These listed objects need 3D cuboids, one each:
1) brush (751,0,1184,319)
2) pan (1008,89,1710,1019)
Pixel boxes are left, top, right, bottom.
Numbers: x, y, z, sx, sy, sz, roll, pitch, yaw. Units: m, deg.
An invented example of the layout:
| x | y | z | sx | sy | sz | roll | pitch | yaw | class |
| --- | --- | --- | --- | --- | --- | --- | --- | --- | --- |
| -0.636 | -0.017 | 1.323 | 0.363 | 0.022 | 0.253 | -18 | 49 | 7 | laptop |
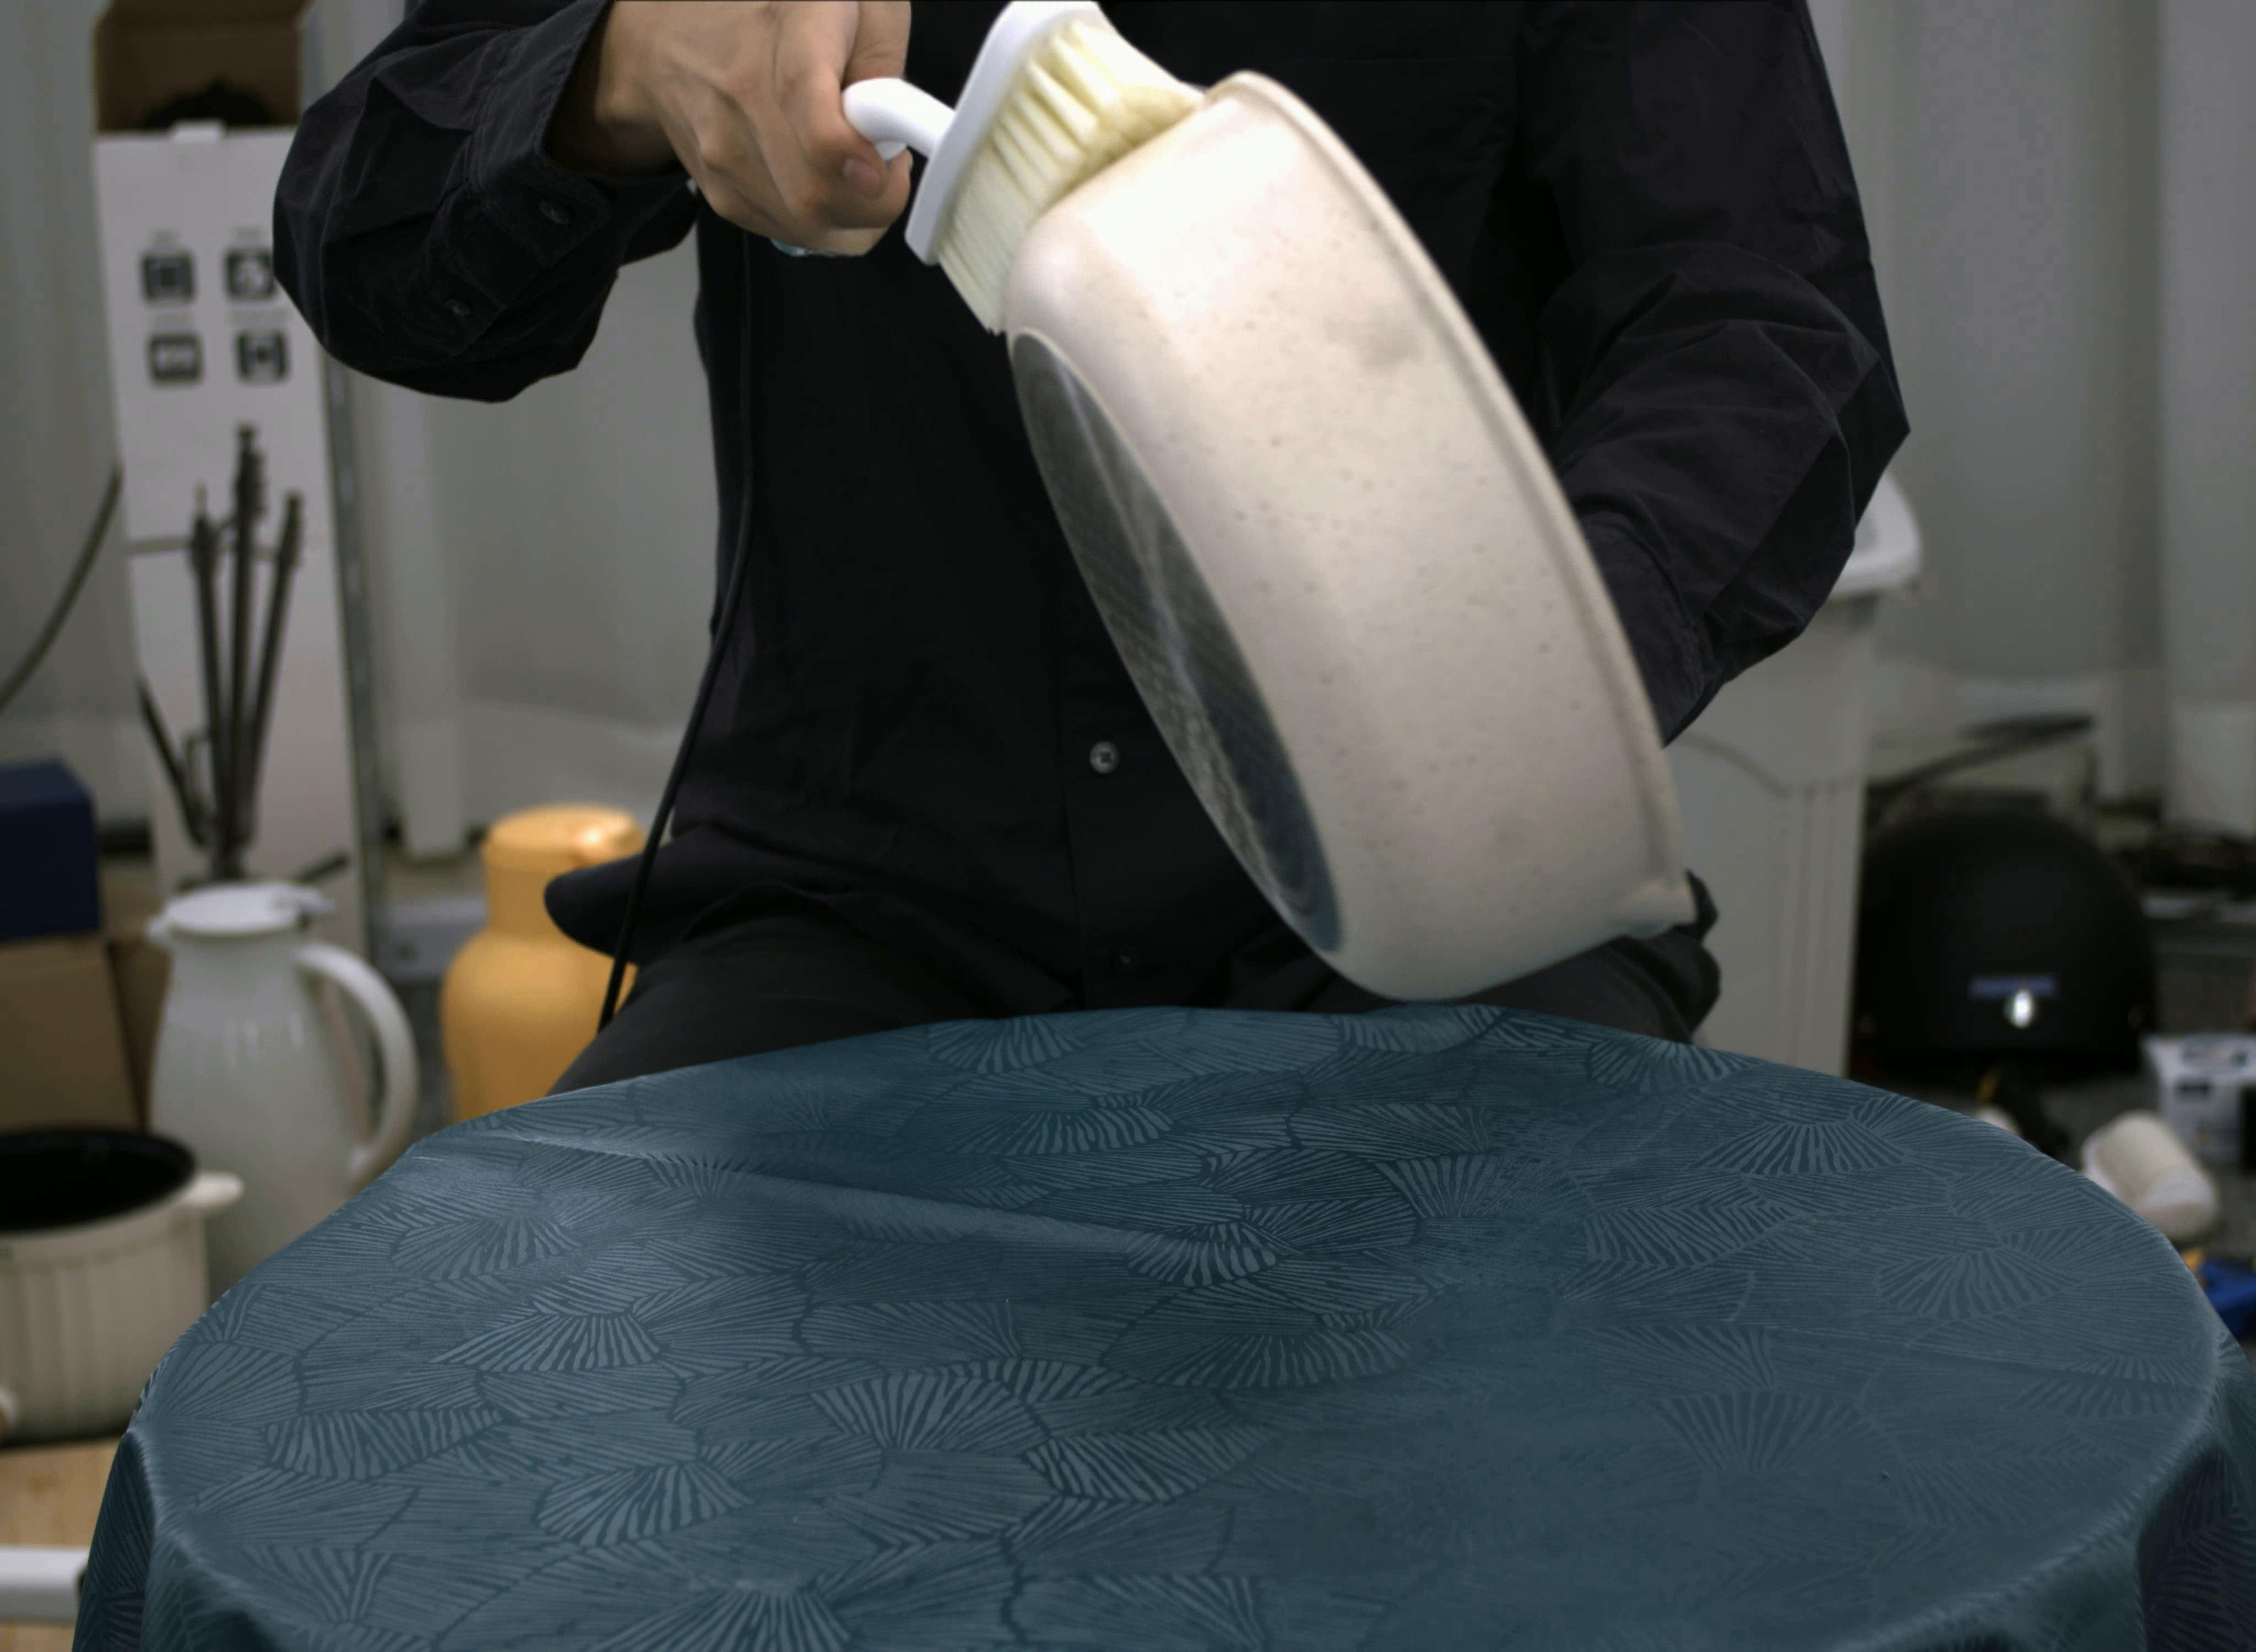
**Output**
| x | y | z | sx | sy | sz | roll | pitch | yaw | class |
| --- | --- | --- | --- | --- | --- | --- | --- | --- | --- |
| -0.044 | -0.179 | 1.582 | 0.082 | 0.085 | 0.325 | 3 | -4 | -15 | brush |
| 0.059 | -0.035 | 1.518 | 0.102 | 0.266 | 0.431 | -28 | -19 | -8 | pan |
